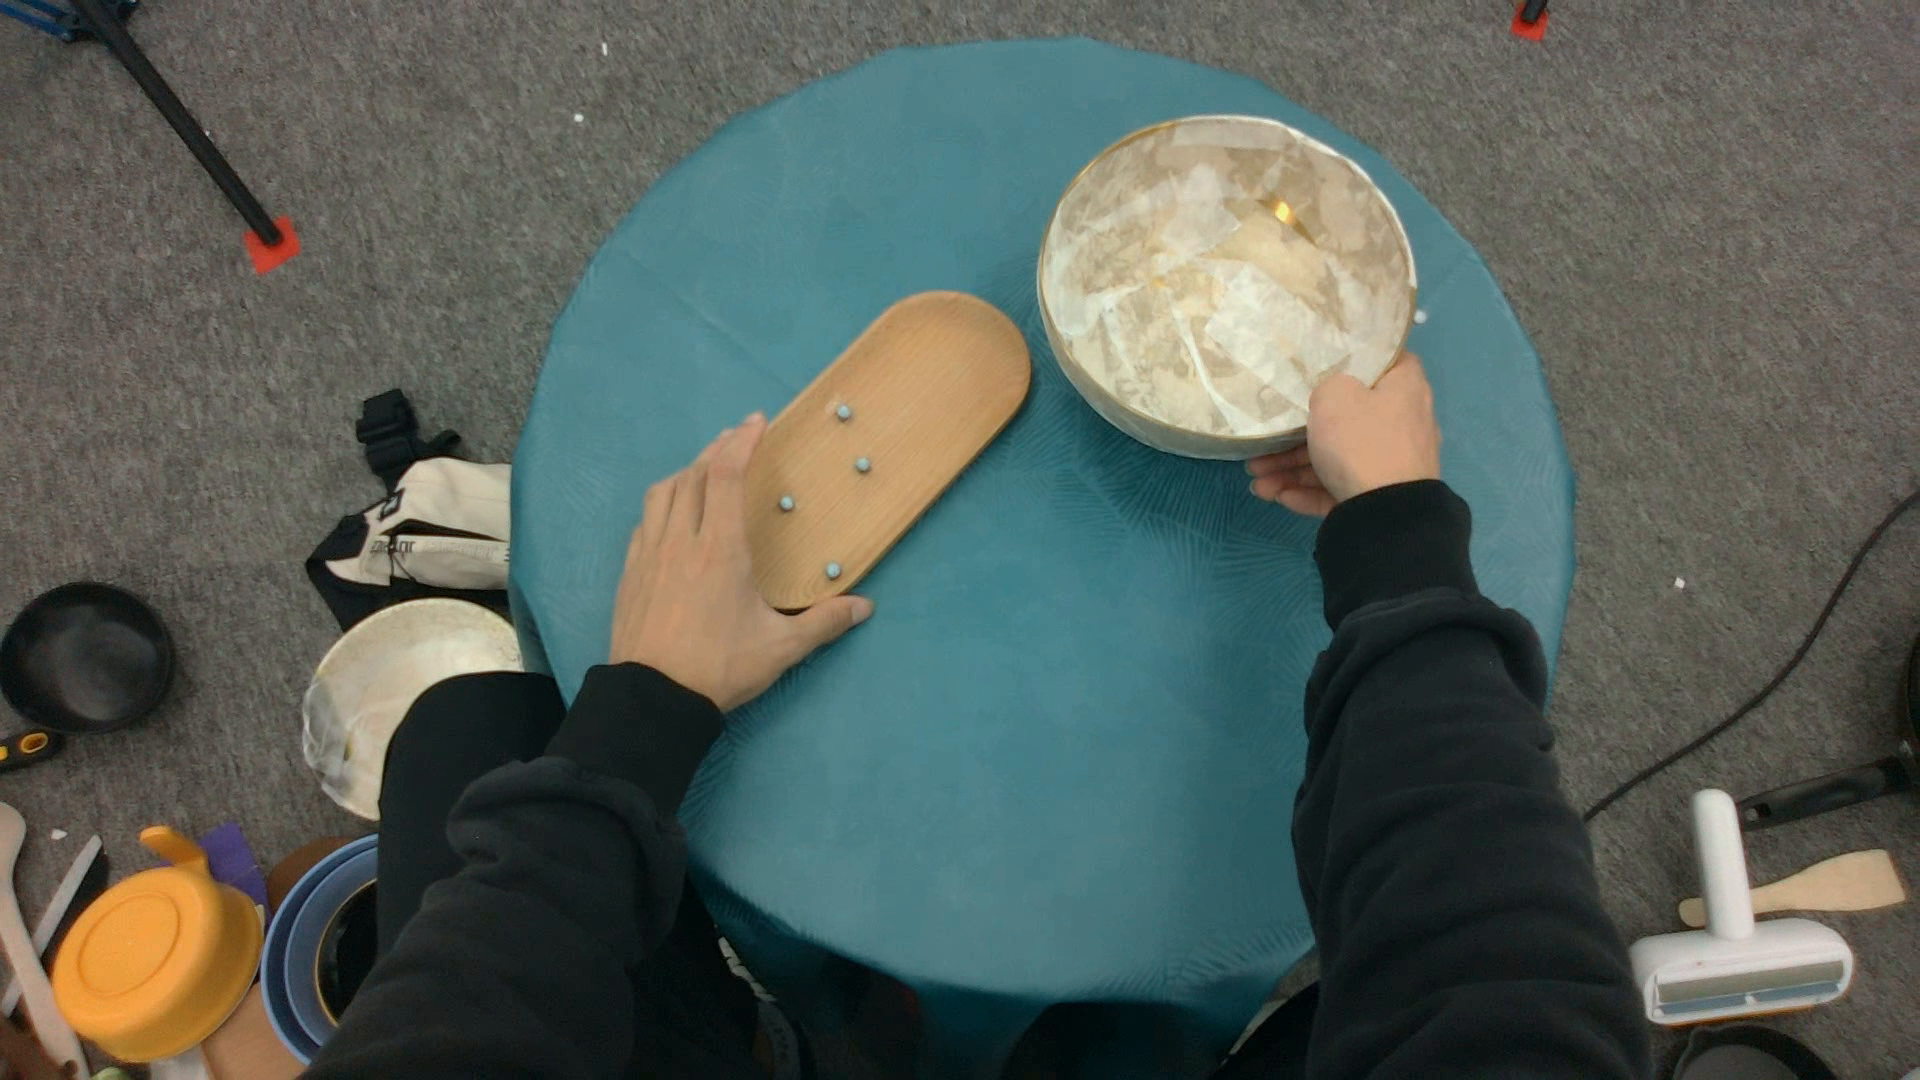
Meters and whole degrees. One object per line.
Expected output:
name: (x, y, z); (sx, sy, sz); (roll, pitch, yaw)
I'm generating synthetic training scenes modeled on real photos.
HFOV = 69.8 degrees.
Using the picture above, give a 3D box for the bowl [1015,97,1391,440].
bowl: (0.125, -0.137, 0.775); (0.215, 0.094, 0.215); (1, 69, -3)

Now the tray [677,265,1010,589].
tray: (-0.063, -0.067, 0.778); (0.102, 0.020, 0.232); (38, 69, 10)
